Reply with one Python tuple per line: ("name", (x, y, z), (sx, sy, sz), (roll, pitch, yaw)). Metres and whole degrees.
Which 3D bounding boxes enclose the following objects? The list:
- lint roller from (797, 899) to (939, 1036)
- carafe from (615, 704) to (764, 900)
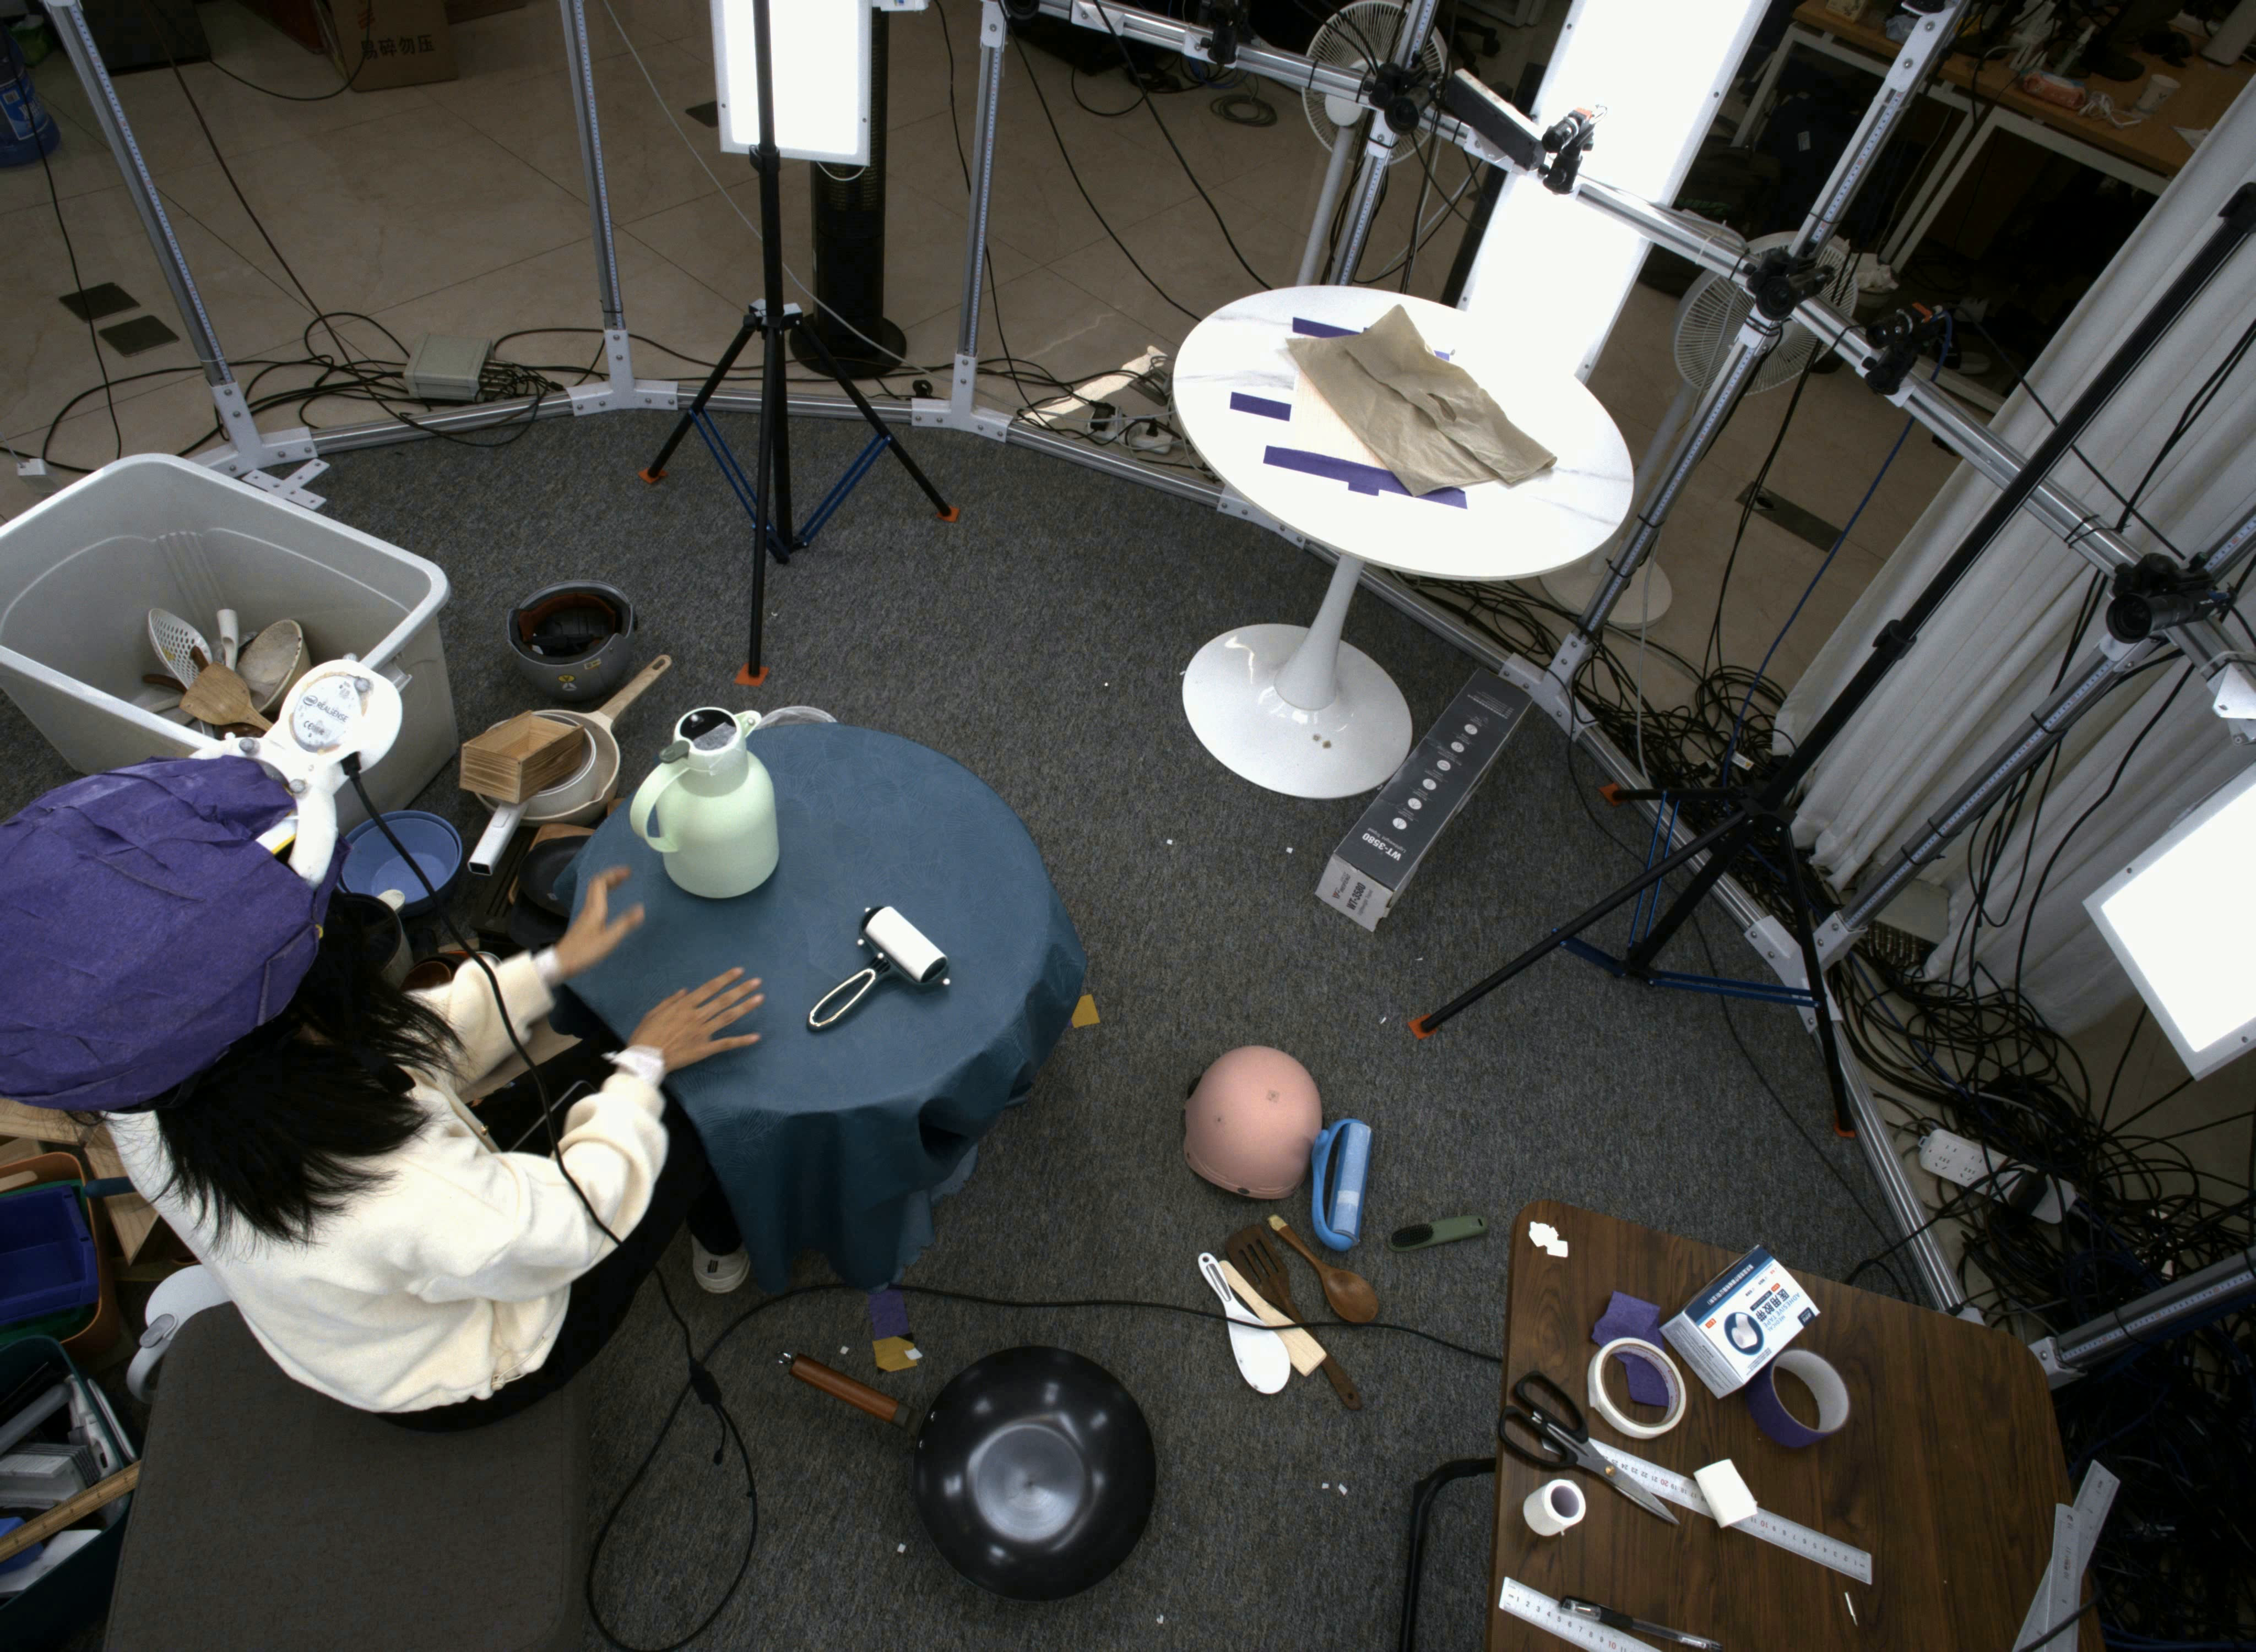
("lint roller", (-0.332, 0.182, 1.576), (0.131, 0.049, 0.180), (39, 54, 16))
("carafe", (-0.529, -0.027, 1.550), (0.141, 0.262, 0.187), (38, 58, 15))
